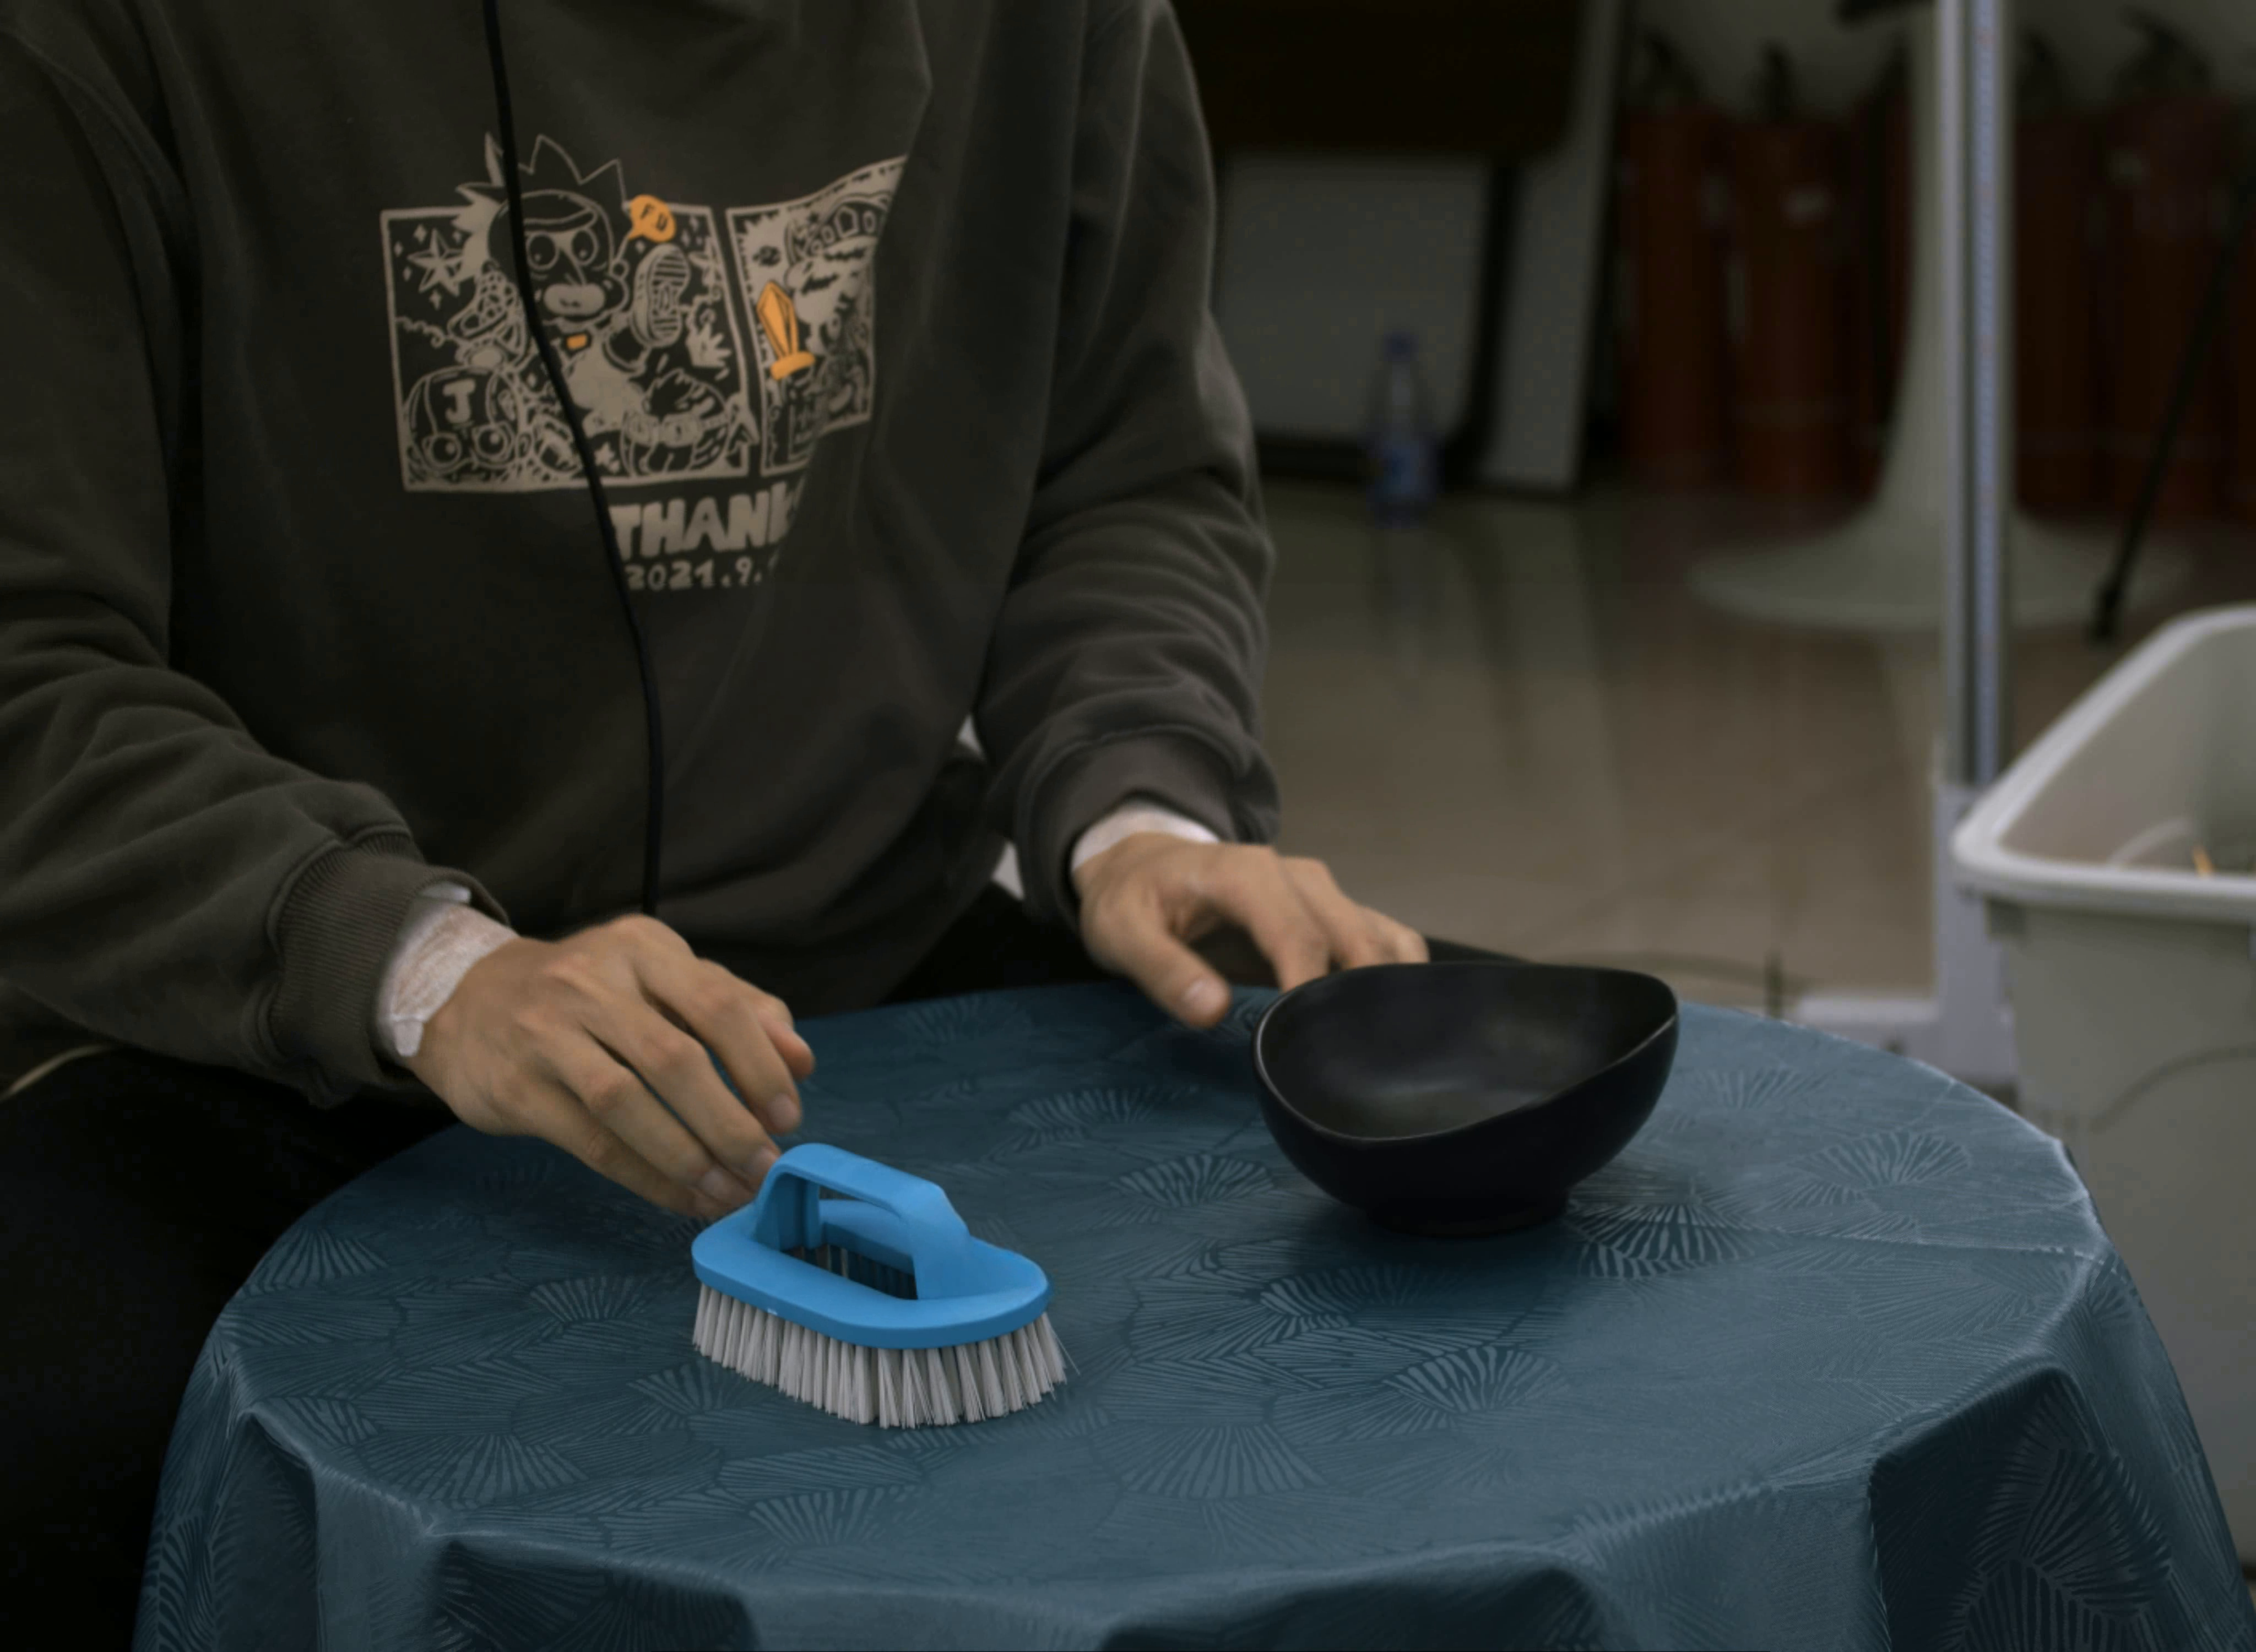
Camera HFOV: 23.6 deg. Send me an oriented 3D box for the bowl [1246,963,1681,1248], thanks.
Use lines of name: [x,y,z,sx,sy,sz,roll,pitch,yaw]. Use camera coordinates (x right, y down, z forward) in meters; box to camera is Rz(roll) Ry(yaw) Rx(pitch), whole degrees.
bowl: [0.109,0.093,1.727,0.137,0.067,0.168,1,16,23]

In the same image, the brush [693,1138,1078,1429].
brush: [-0.077,0.130,1.623,0.082,0.064,0.143,-18,17,-31]
